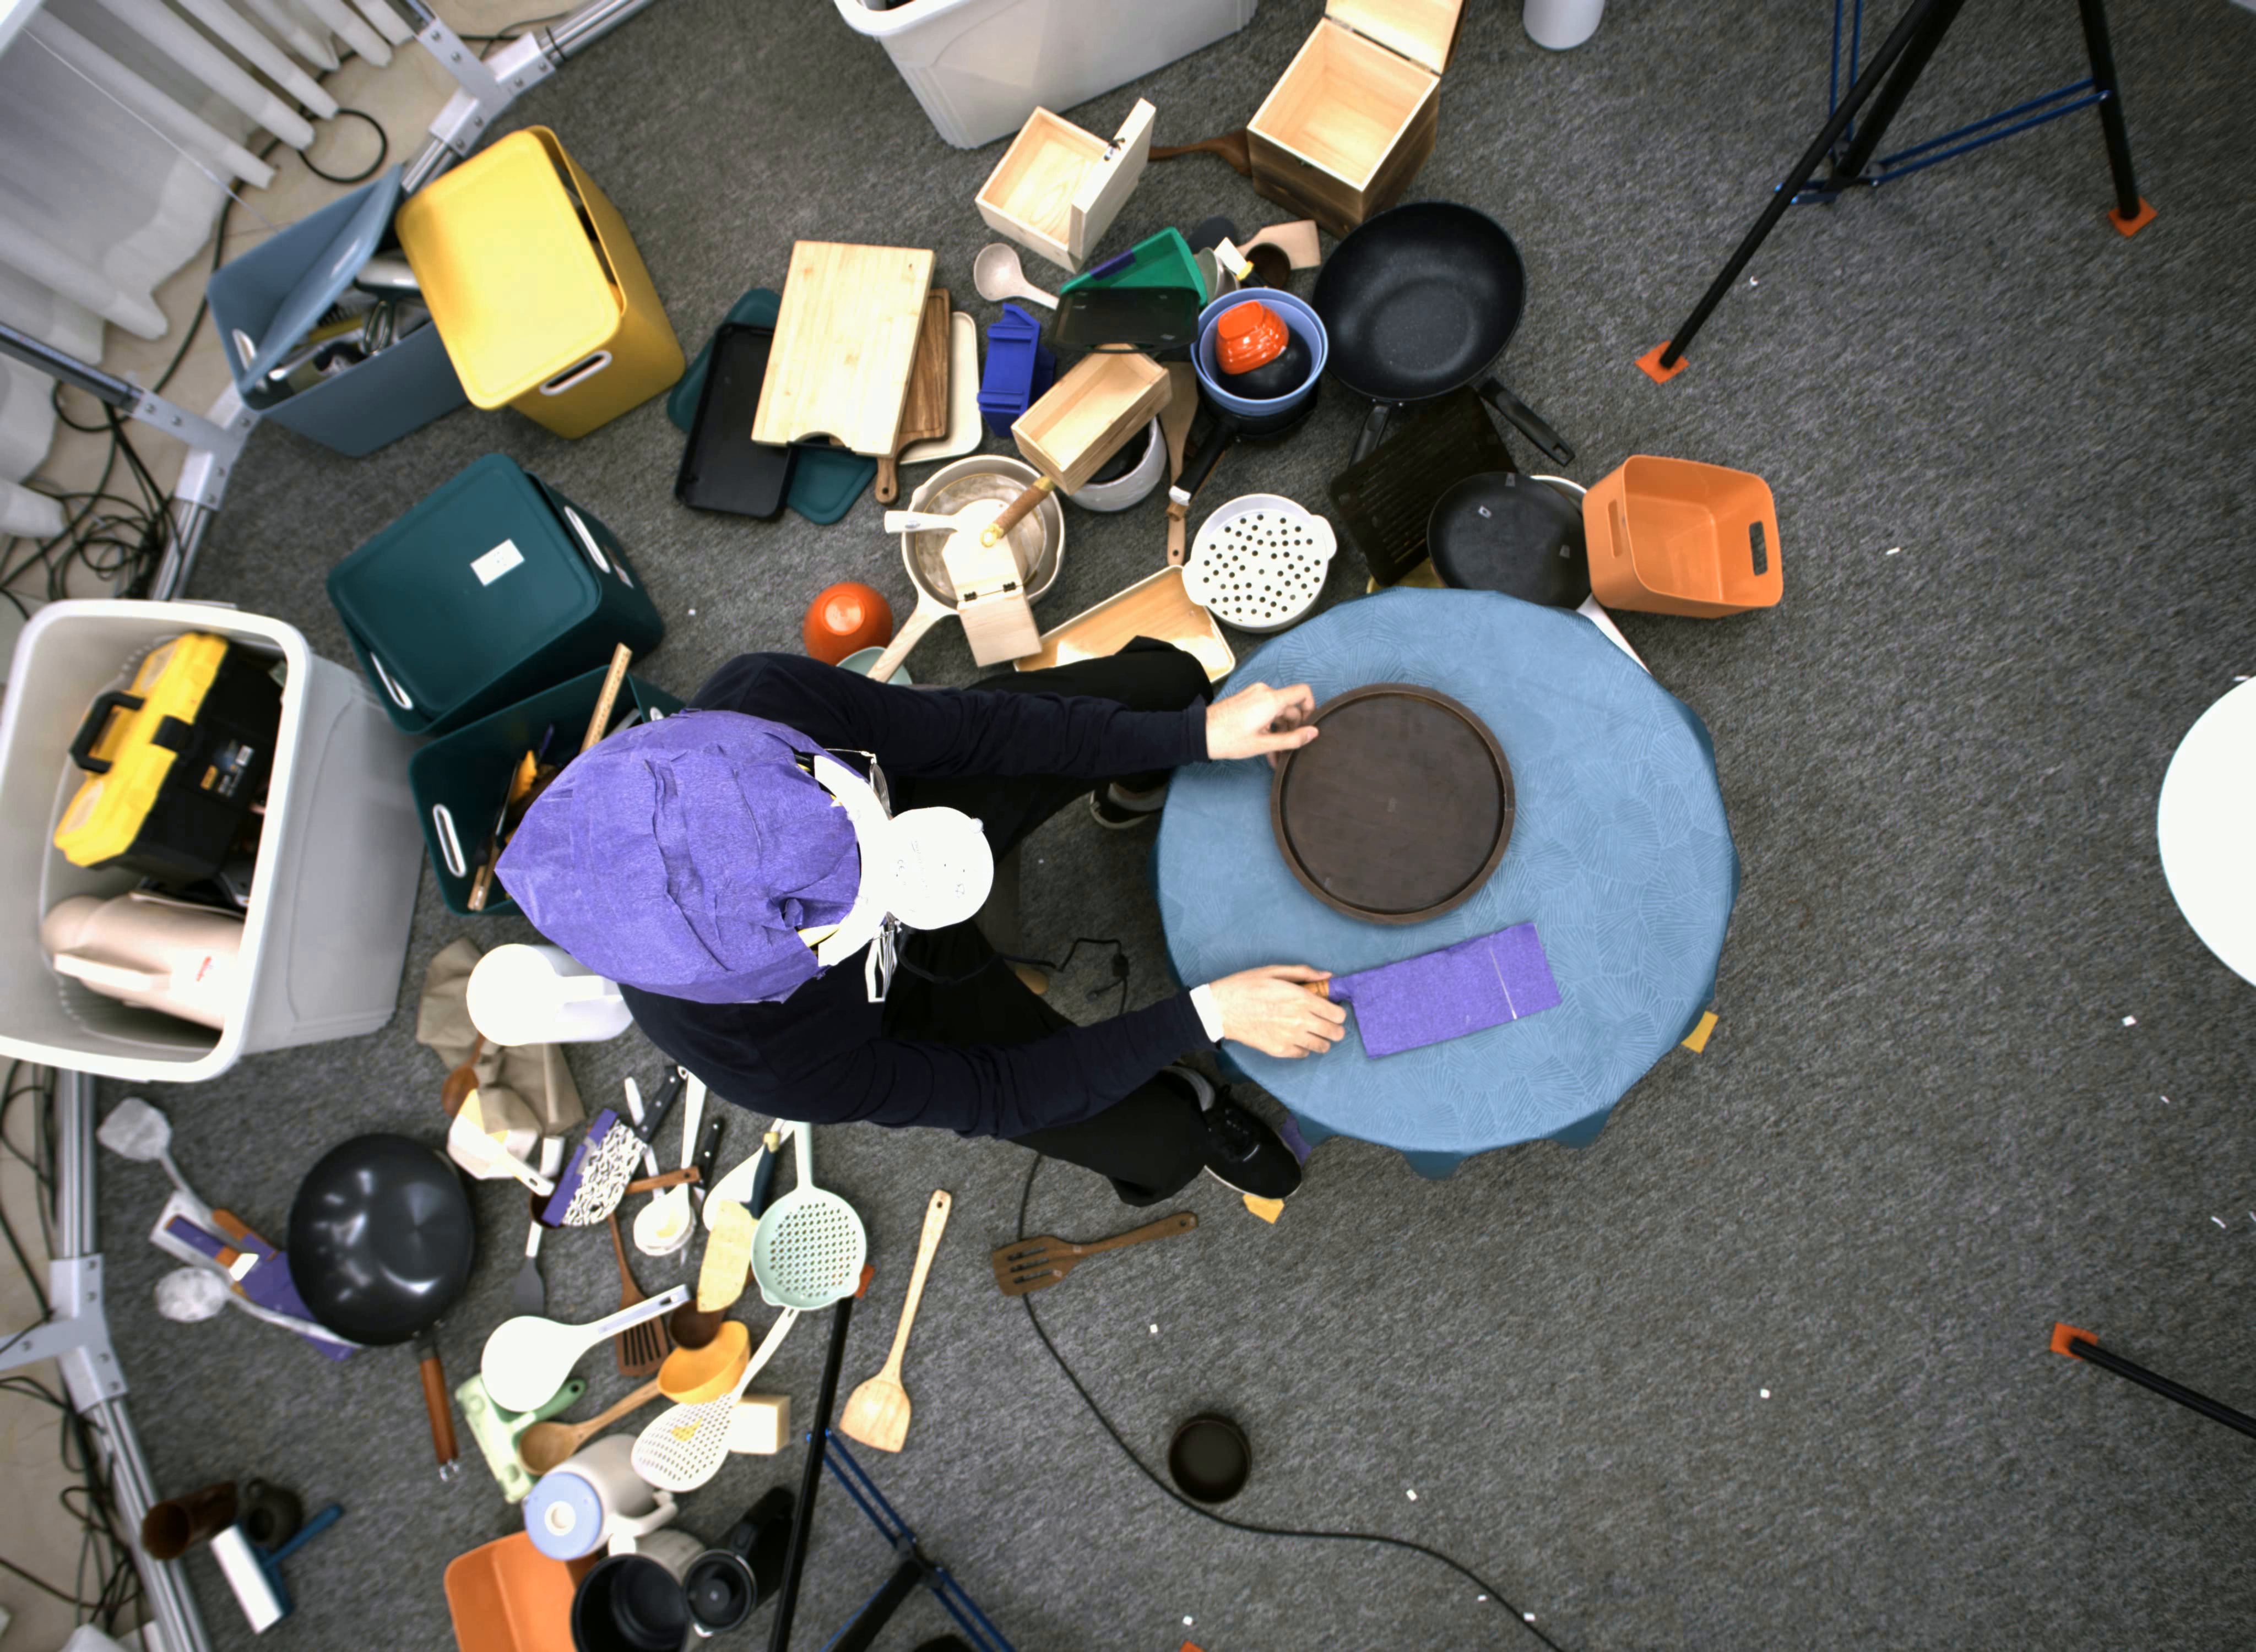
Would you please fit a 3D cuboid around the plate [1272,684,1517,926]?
[{"bbox_3d":[0.277,-0.023,1.441,0.255,0.029,0.255,0,92,8],"label":"plate"}]

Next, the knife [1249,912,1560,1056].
[{"bbox_3d":[0.288,0.182,1.437,0.317,0.032,0.103,-18,83,9],"label":"knife"}]
